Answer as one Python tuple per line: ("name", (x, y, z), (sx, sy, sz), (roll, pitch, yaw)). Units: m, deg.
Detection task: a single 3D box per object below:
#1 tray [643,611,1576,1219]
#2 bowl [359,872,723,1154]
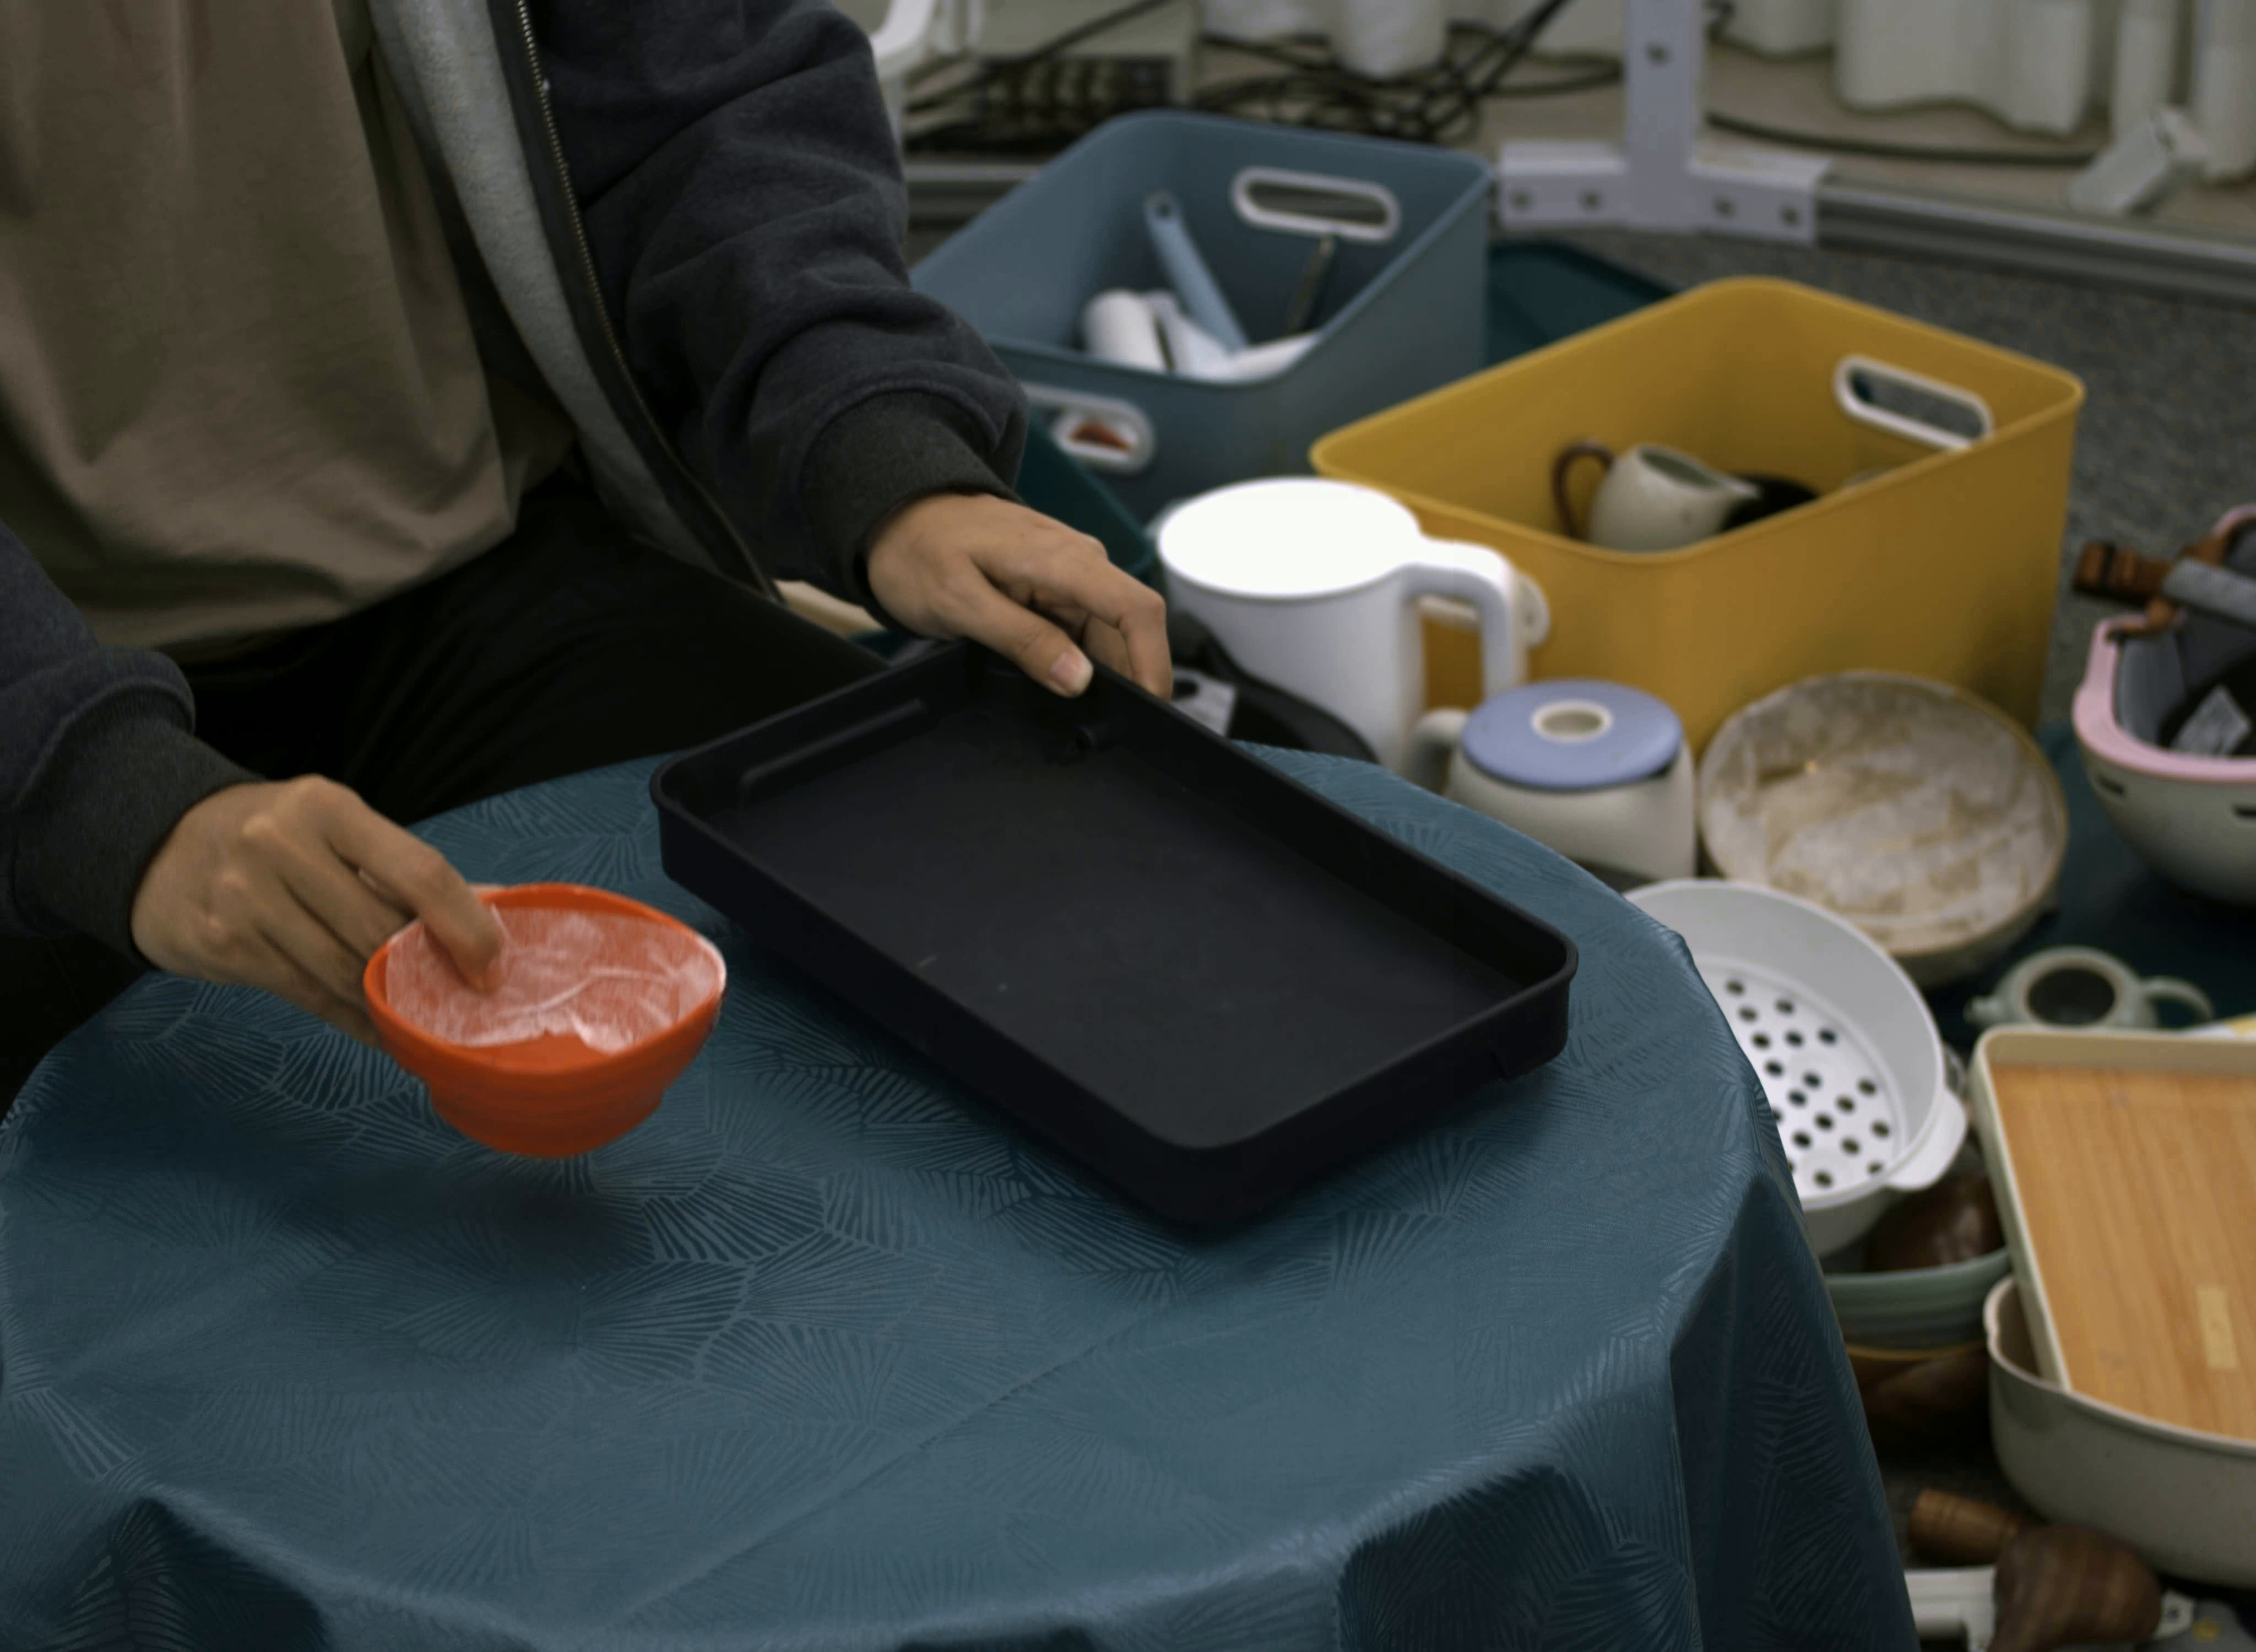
("tray", (-0.011, 0.025, 1.958), (0.186, 0.036, 0.318), (-23, 39, -33))
("bowl", (-0.192, 0.066, 1.844), (0.118, 0.051, 0.121), (3, 29, -1))
